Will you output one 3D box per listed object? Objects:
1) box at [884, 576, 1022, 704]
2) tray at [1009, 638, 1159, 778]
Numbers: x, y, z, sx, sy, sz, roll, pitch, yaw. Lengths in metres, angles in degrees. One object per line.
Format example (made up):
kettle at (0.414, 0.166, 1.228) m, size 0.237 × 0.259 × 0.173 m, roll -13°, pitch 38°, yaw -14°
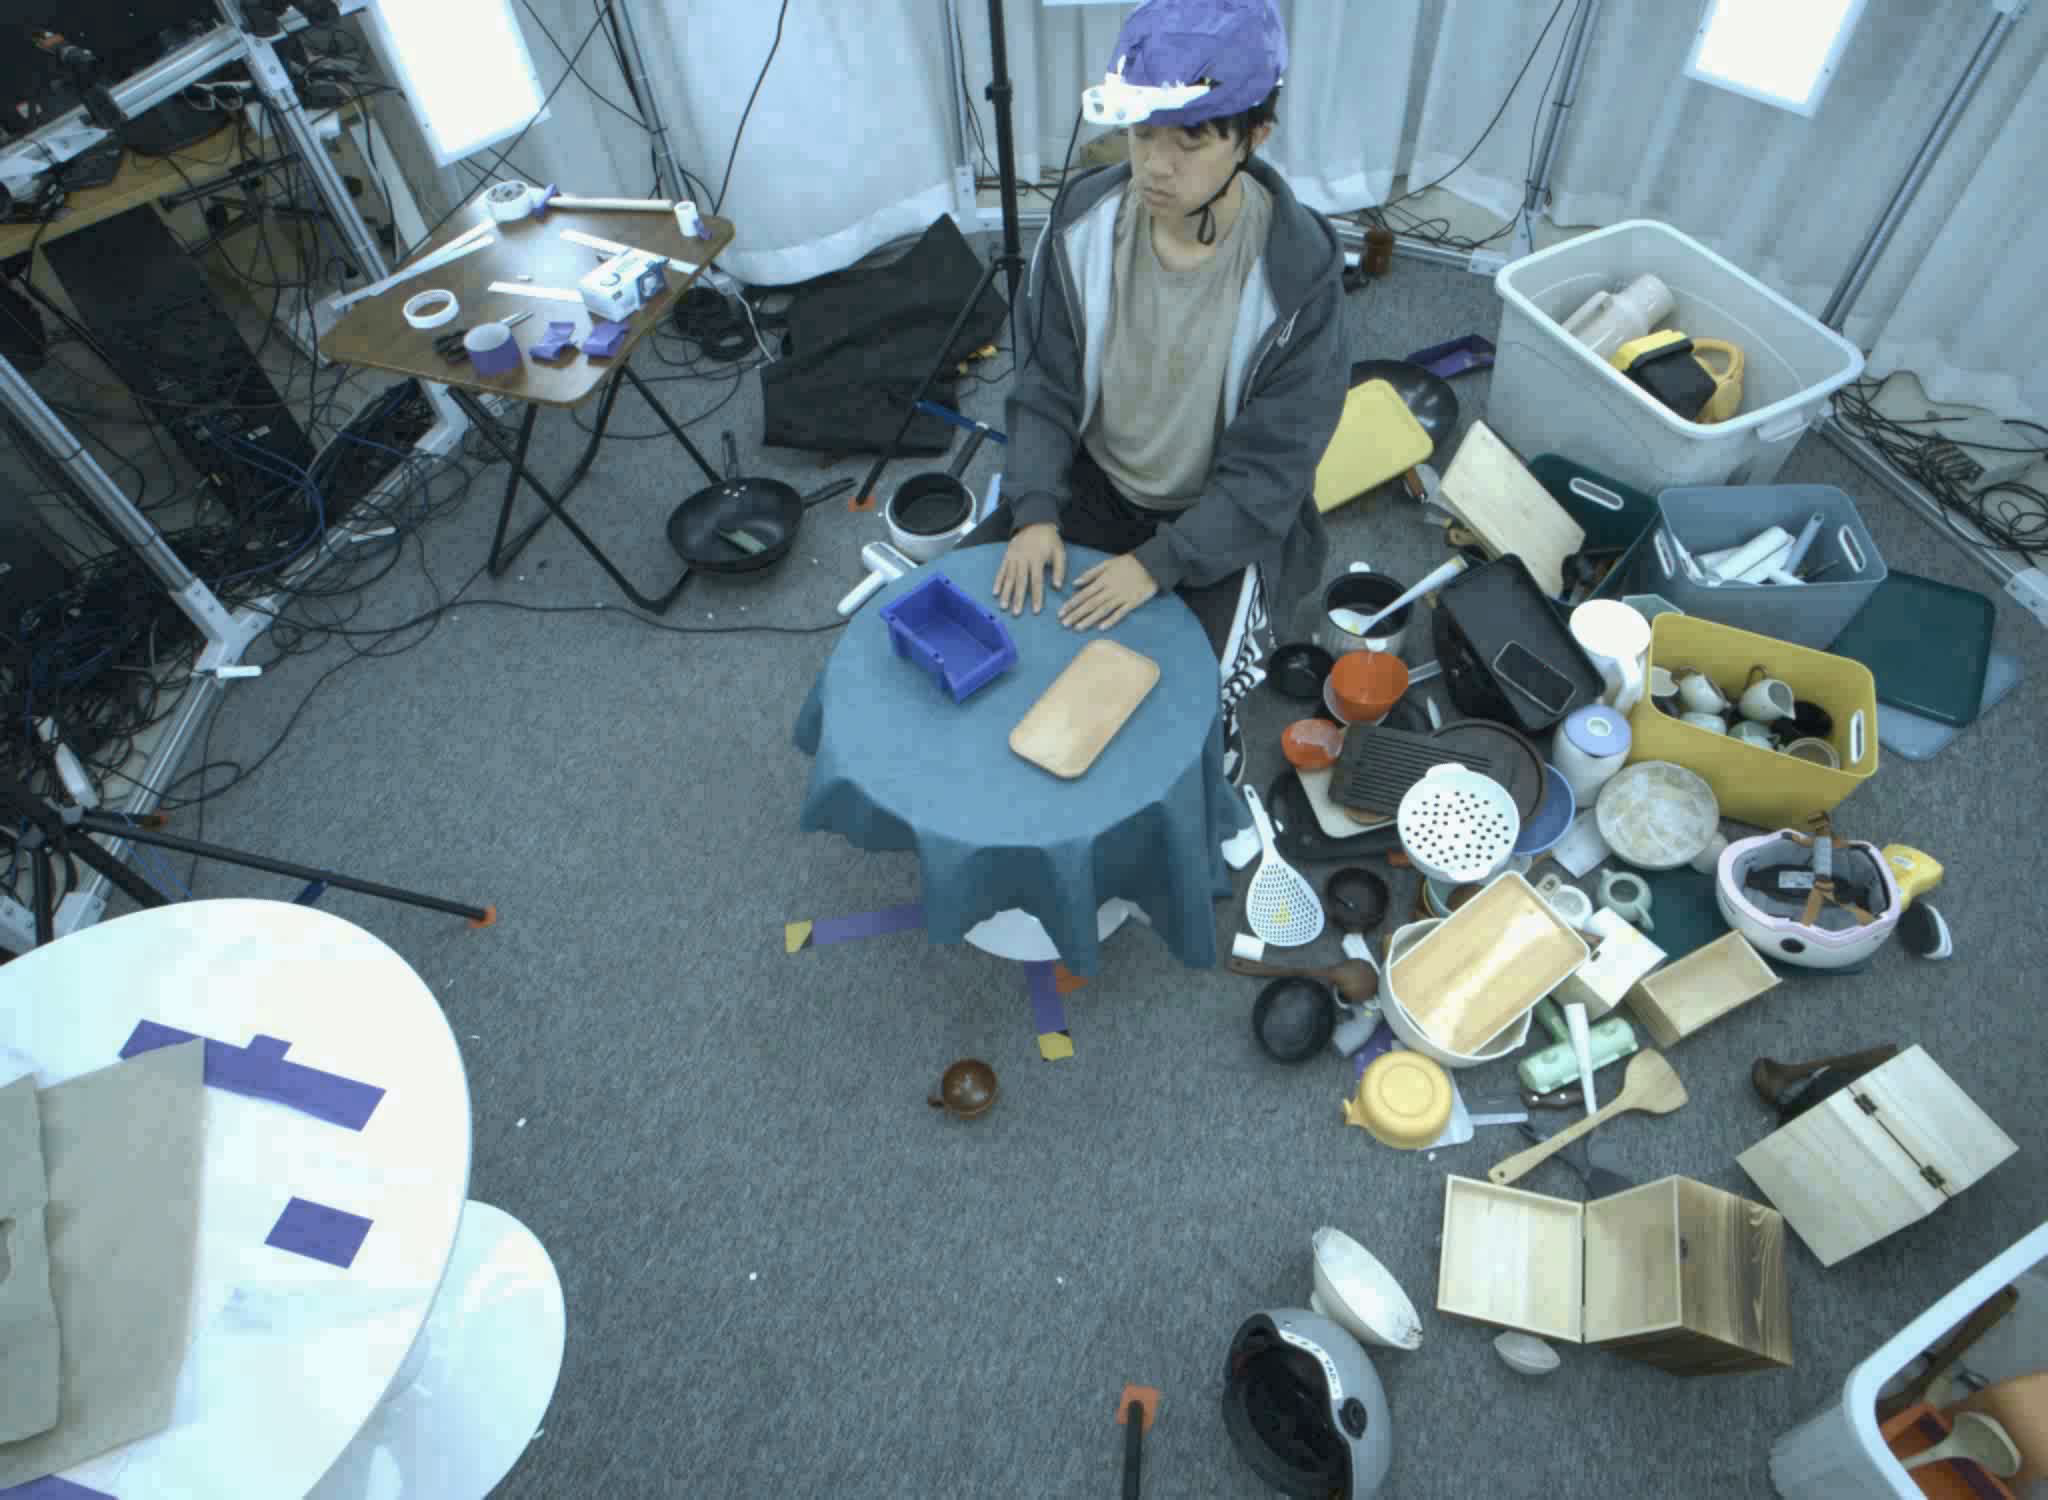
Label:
box at (-0.106, -0.165, 1.860) m, size 0.125 × 0.083 × 0.176 m, roll -36°, pitch 57°, yaw -21°
tray at (0.091, -0.065, 1.822) m, size 0.129 × 0.023 × 0.252 m, roll 31°, pitch 61°, yaw 18°
